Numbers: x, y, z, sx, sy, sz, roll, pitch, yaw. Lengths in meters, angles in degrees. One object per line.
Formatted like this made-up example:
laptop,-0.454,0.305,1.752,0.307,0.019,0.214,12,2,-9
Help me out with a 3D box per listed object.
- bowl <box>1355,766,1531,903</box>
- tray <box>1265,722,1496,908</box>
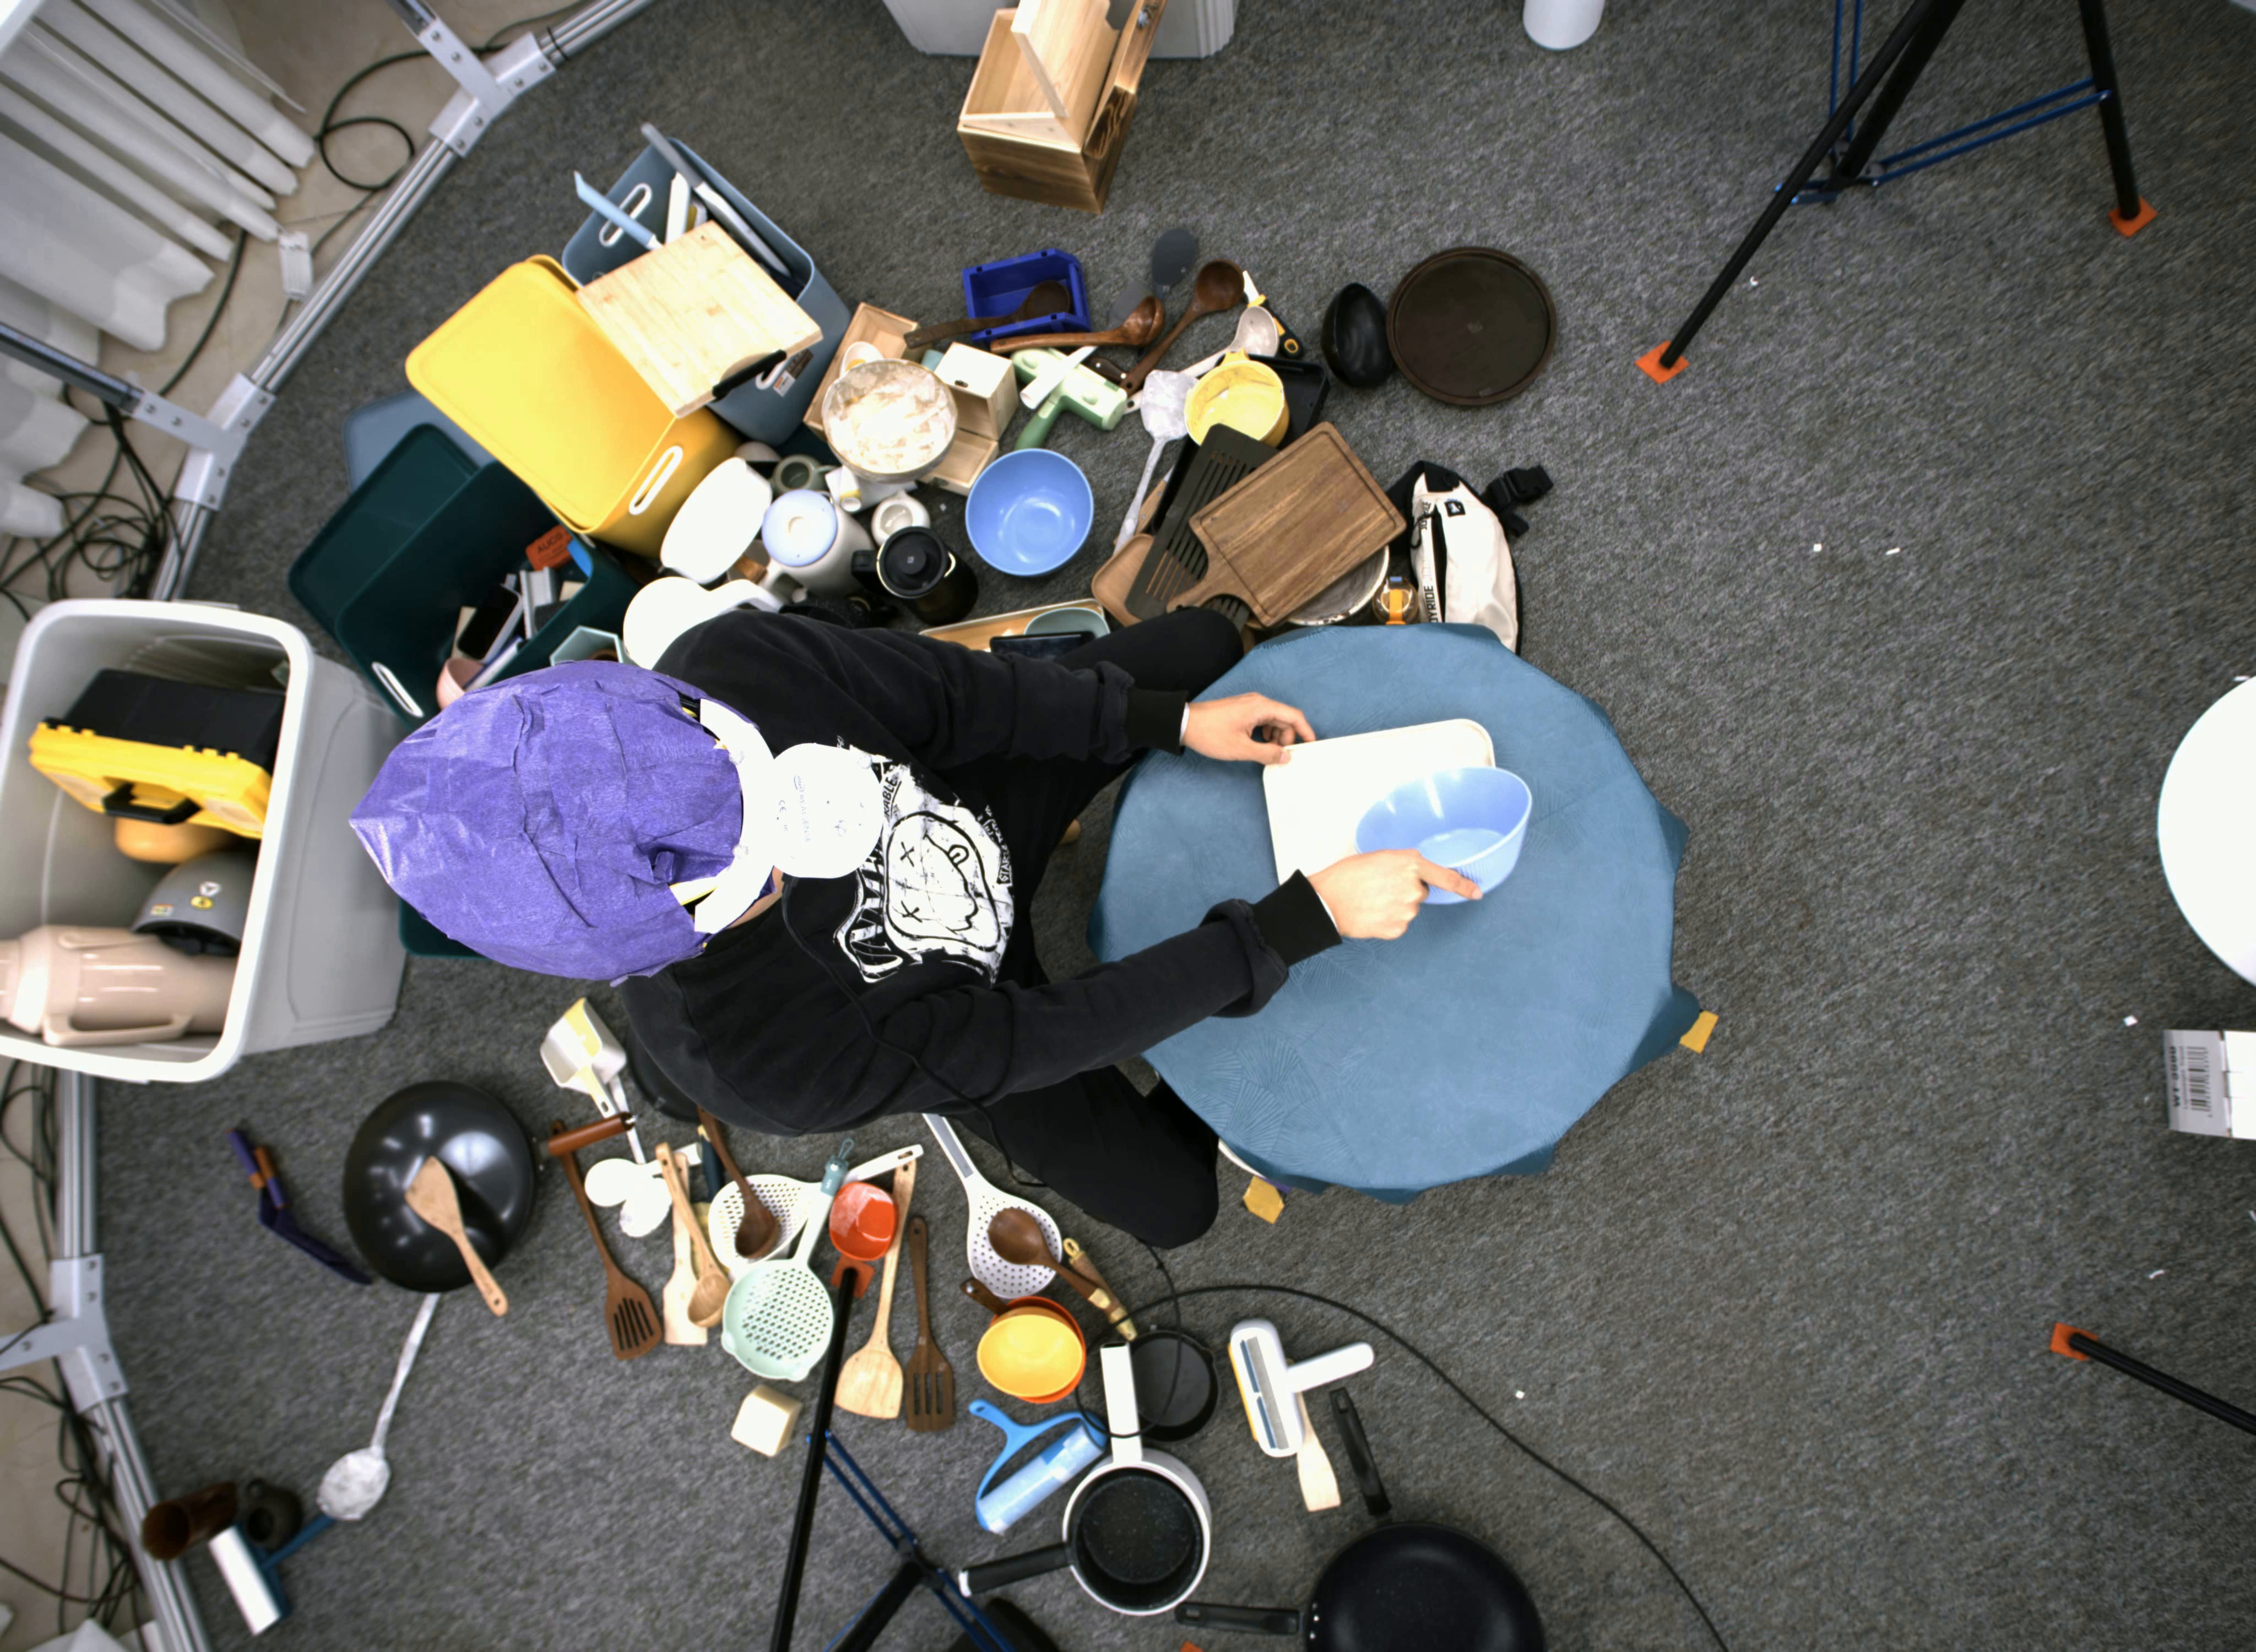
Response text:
bowl,0.317,0.015,1.361,0.177,0.172,0.071,-21,119,7
tray,0.271,-0.012,1.448,0.241,0.017,0.171,-8,95,9
